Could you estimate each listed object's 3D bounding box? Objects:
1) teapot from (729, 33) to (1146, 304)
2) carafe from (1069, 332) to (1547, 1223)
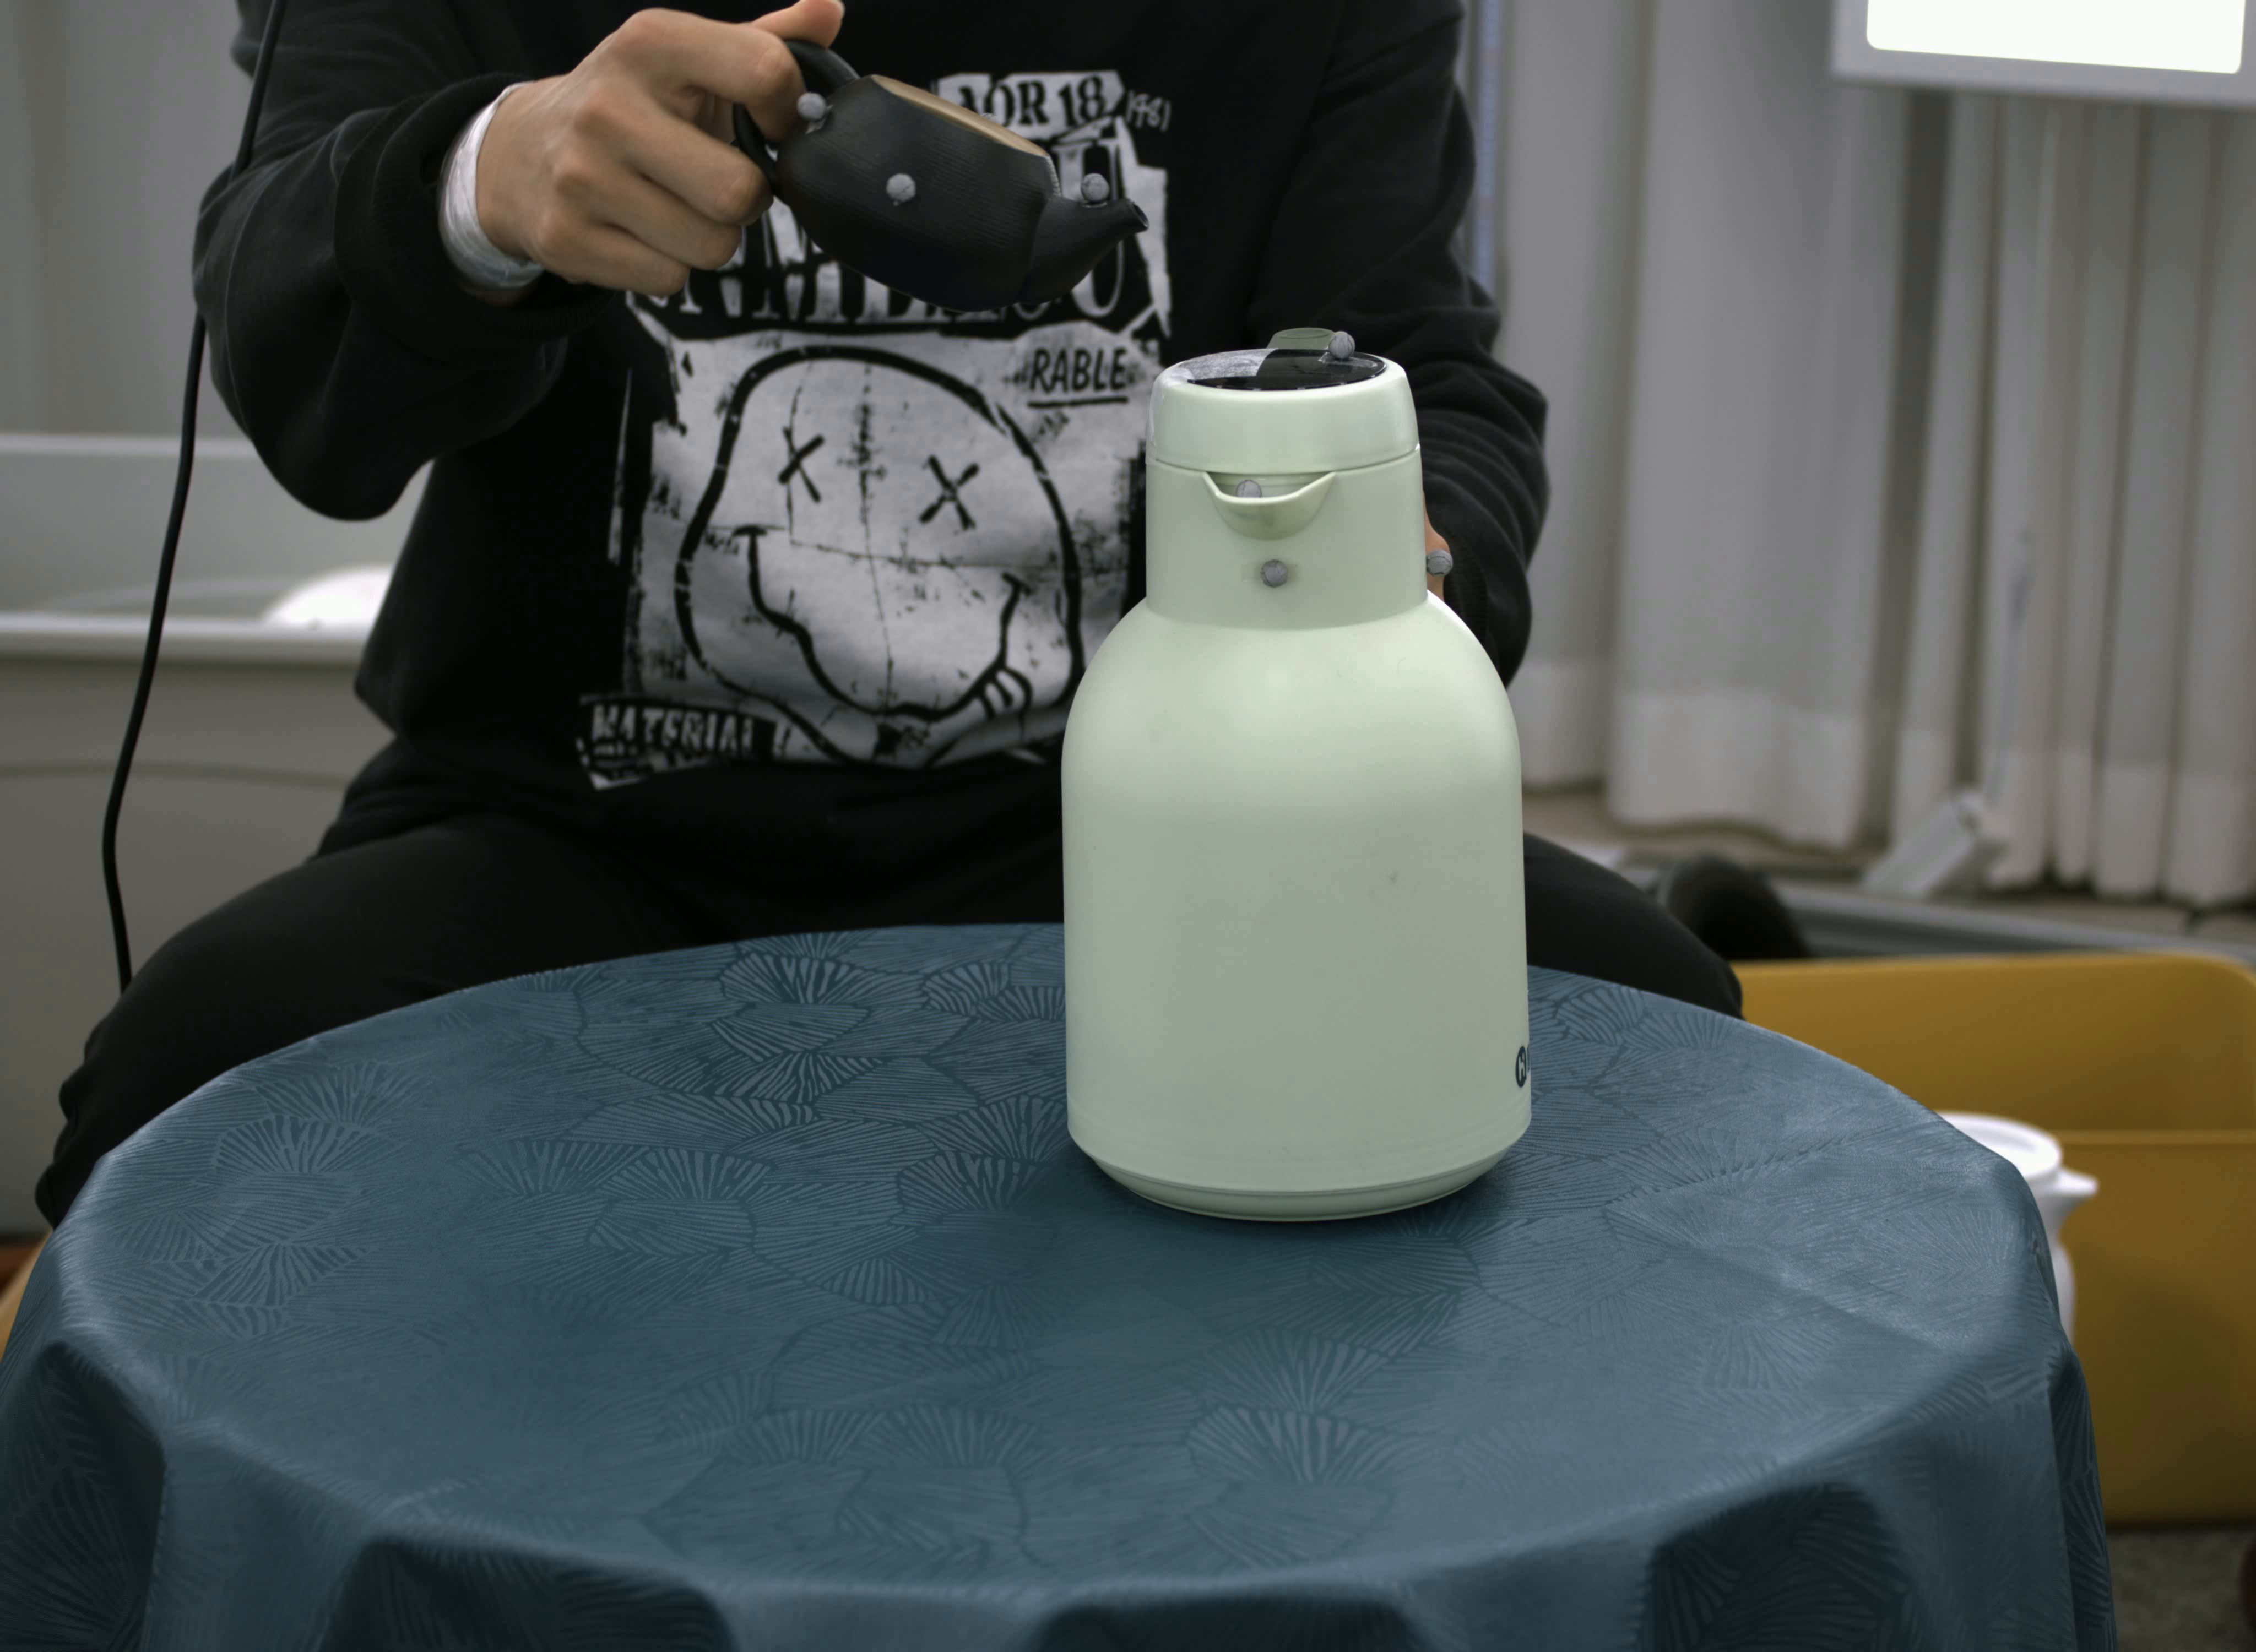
[{"bbox_3d":[-0.062,-0.191,1.569,0.132,0.053,0.091,27,11,10],"label":"teapot"},{"bbox_3d":[0.054,-0.020,1.626,0.143,0.258,0.186,-1,12,8],"label":"carafe"}]
